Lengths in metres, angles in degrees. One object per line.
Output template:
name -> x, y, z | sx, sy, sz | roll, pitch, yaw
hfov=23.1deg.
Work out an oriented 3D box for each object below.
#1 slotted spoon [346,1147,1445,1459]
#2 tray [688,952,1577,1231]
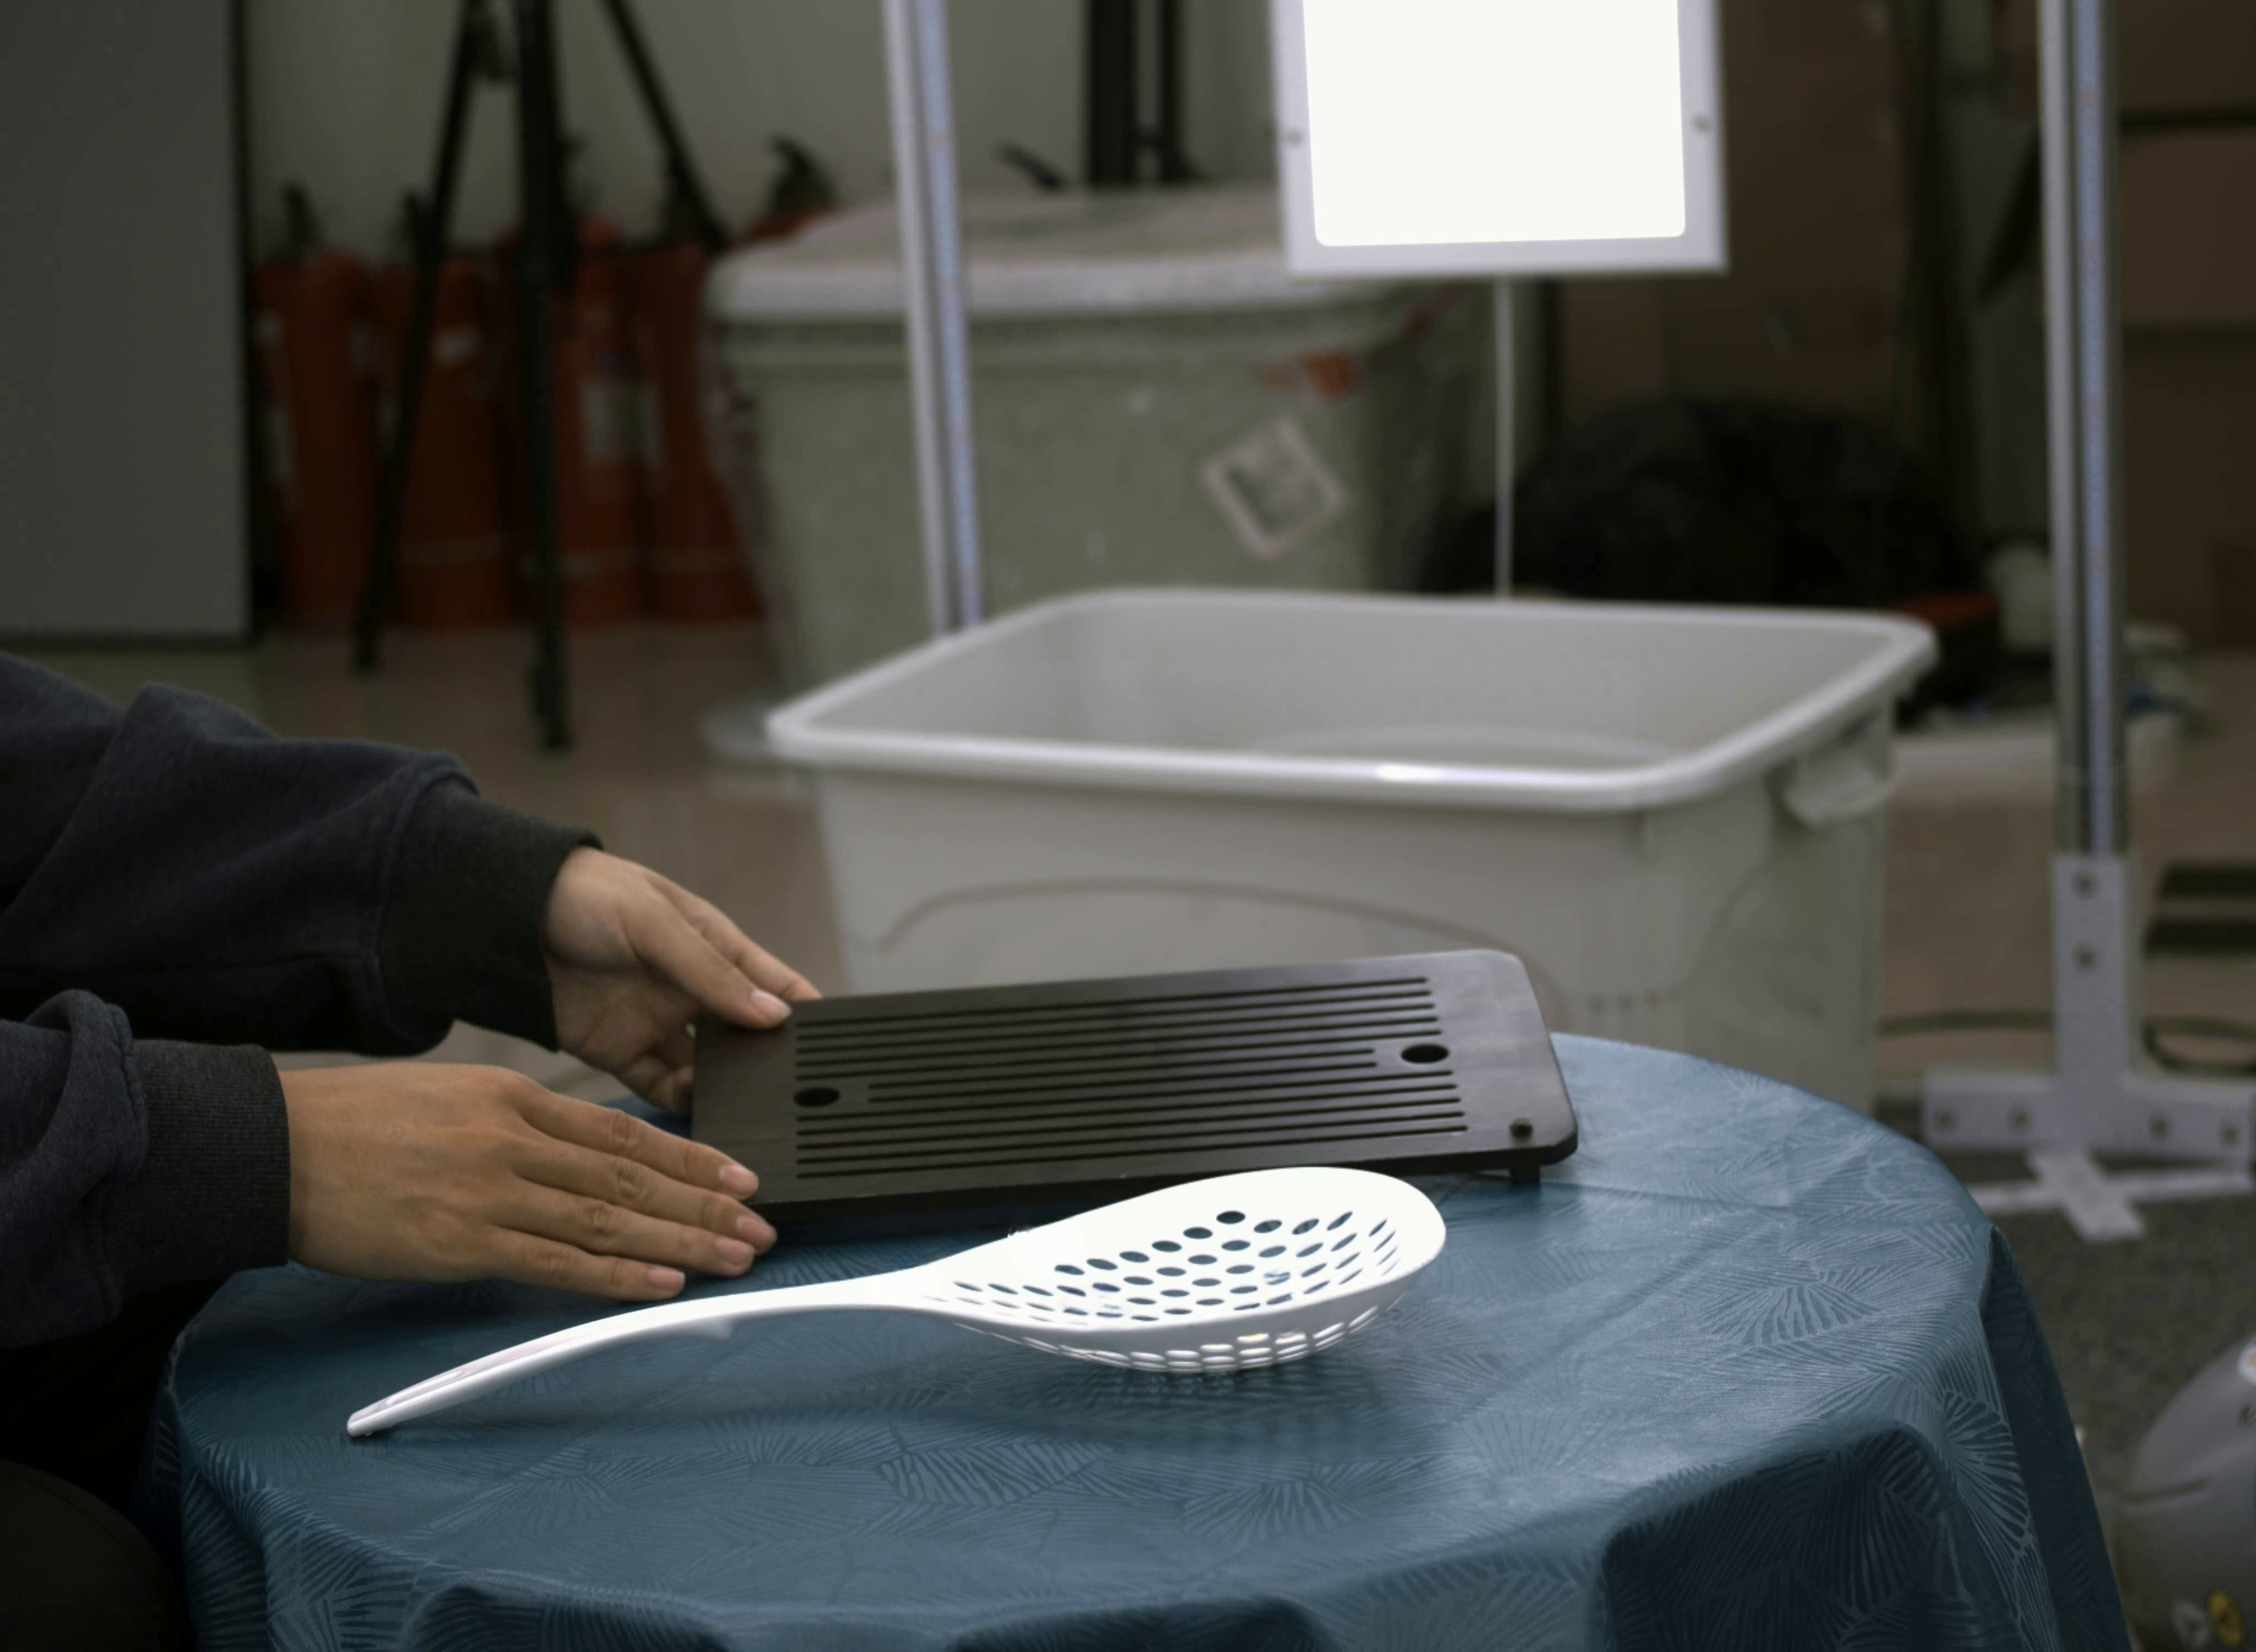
slotted spoon -> -0.072, 0.155, 1.720 | 0.347, 0.050, 0.137 | -5, 16, -1
tray -> -0.002, 0.094, 1.942 | 0.305, 0.019, 0.170 | -5, 21, 0
